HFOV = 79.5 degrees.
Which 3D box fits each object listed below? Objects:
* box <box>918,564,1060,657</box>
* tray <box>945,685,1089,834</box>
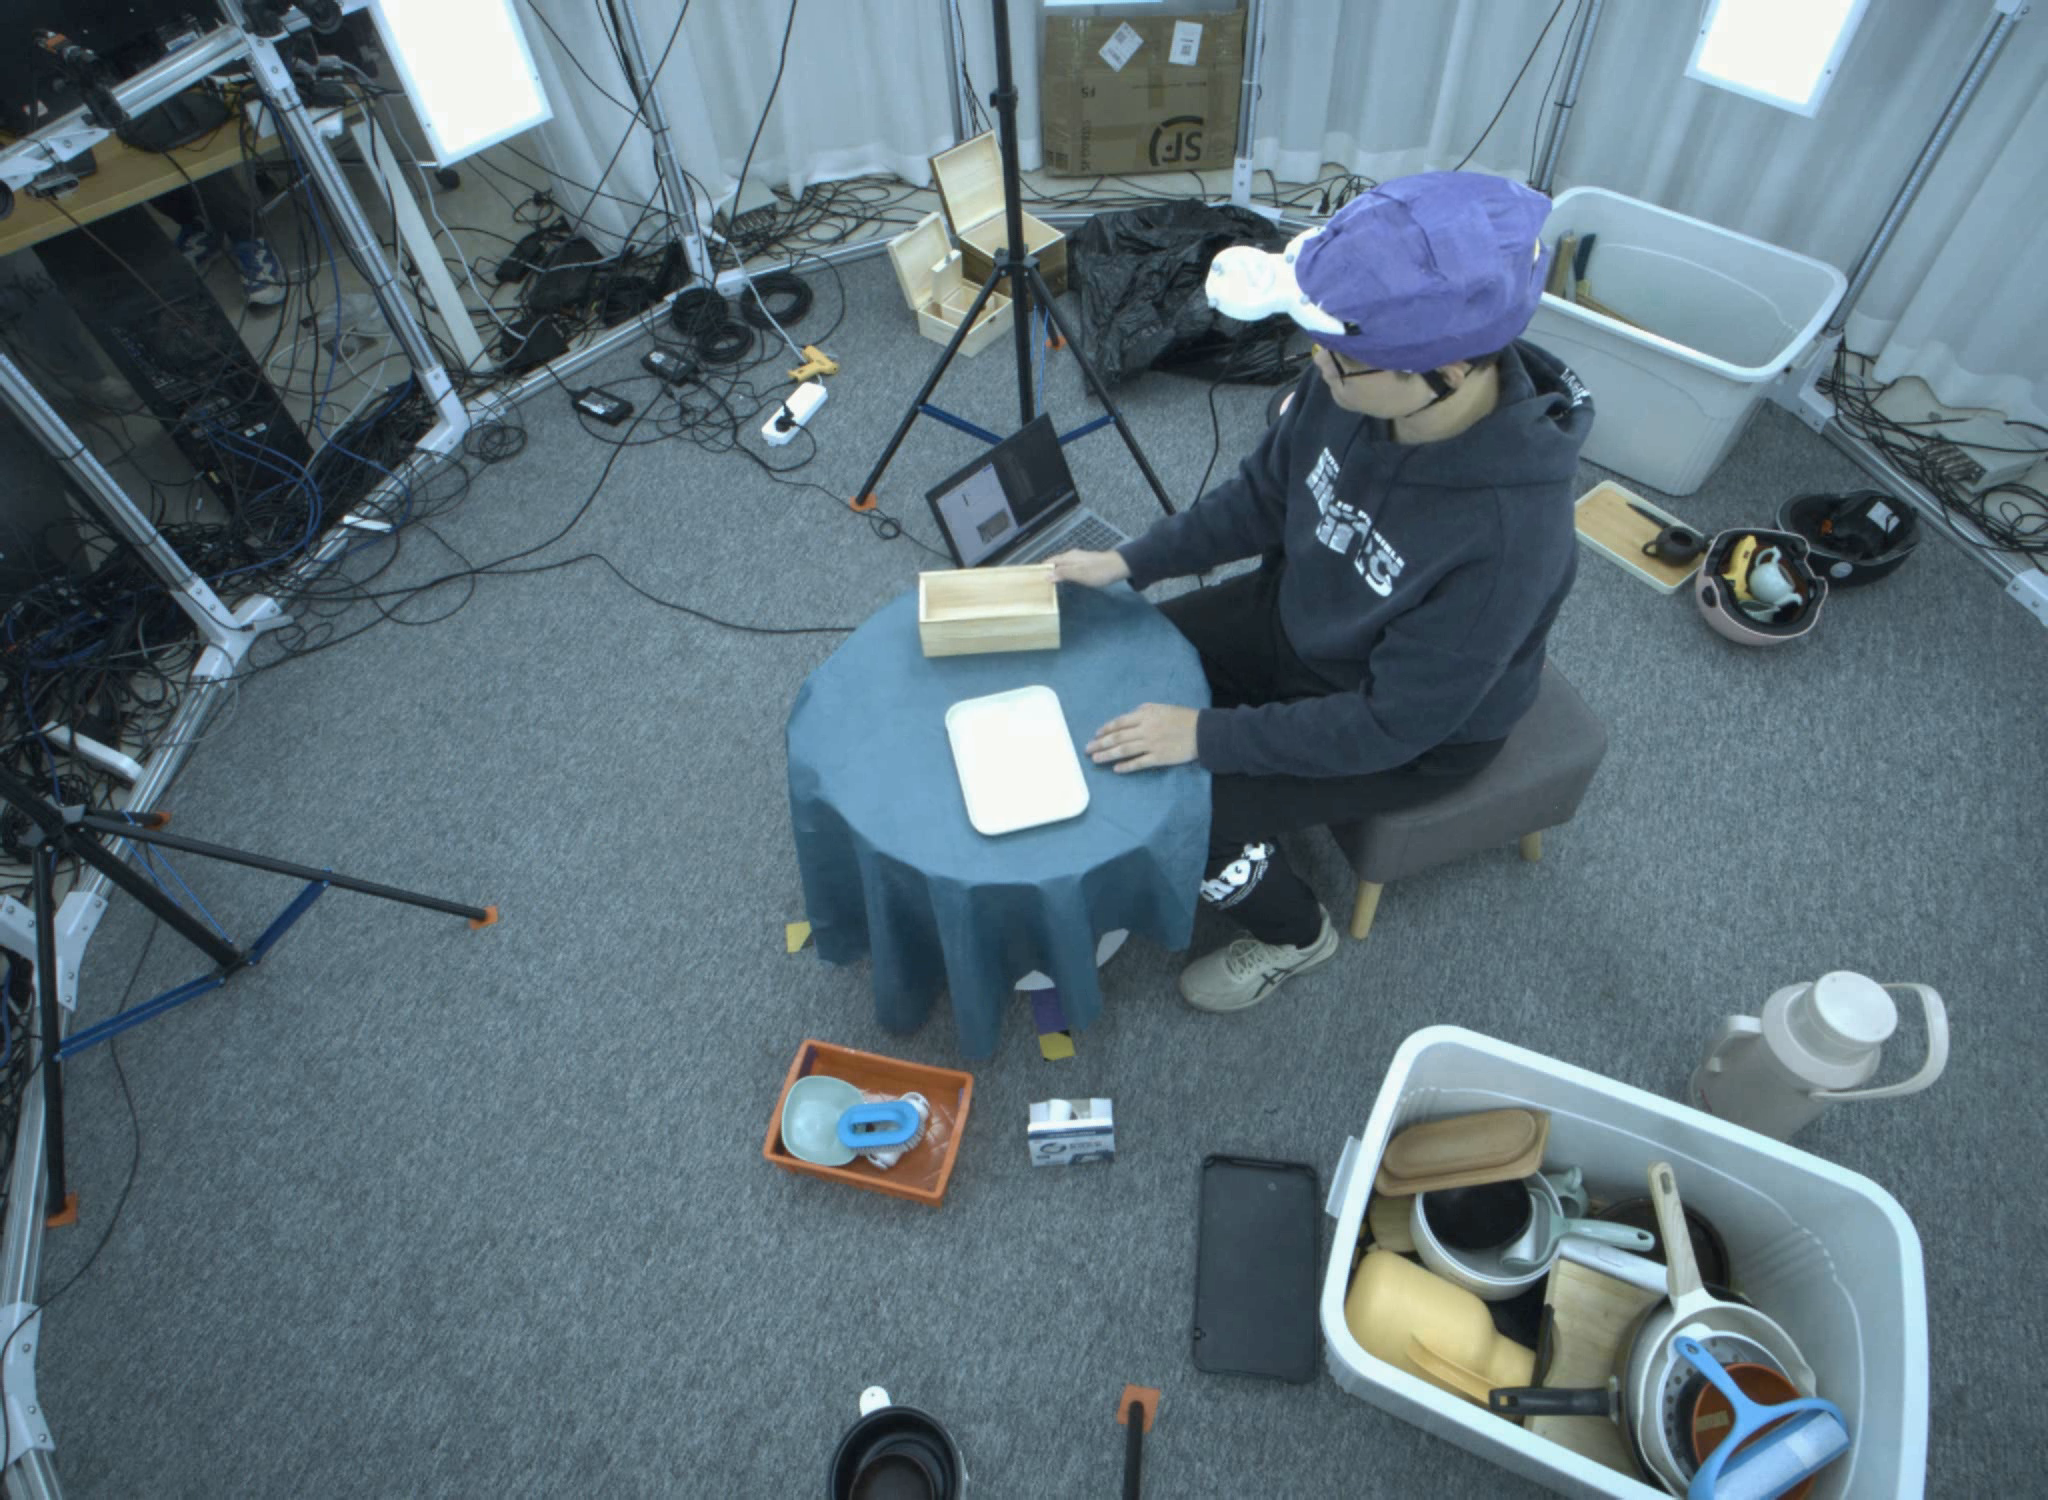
[{"bbox_3d":[-0.054,-0.216,1.892,0.212,0.081,0.106,-4,55,-1],"label":"box"},{"bbox_3d":[-0.012,0.012,1.769,0.172,0.017,0.236,-12,55,-8],"label":"tray"}]
